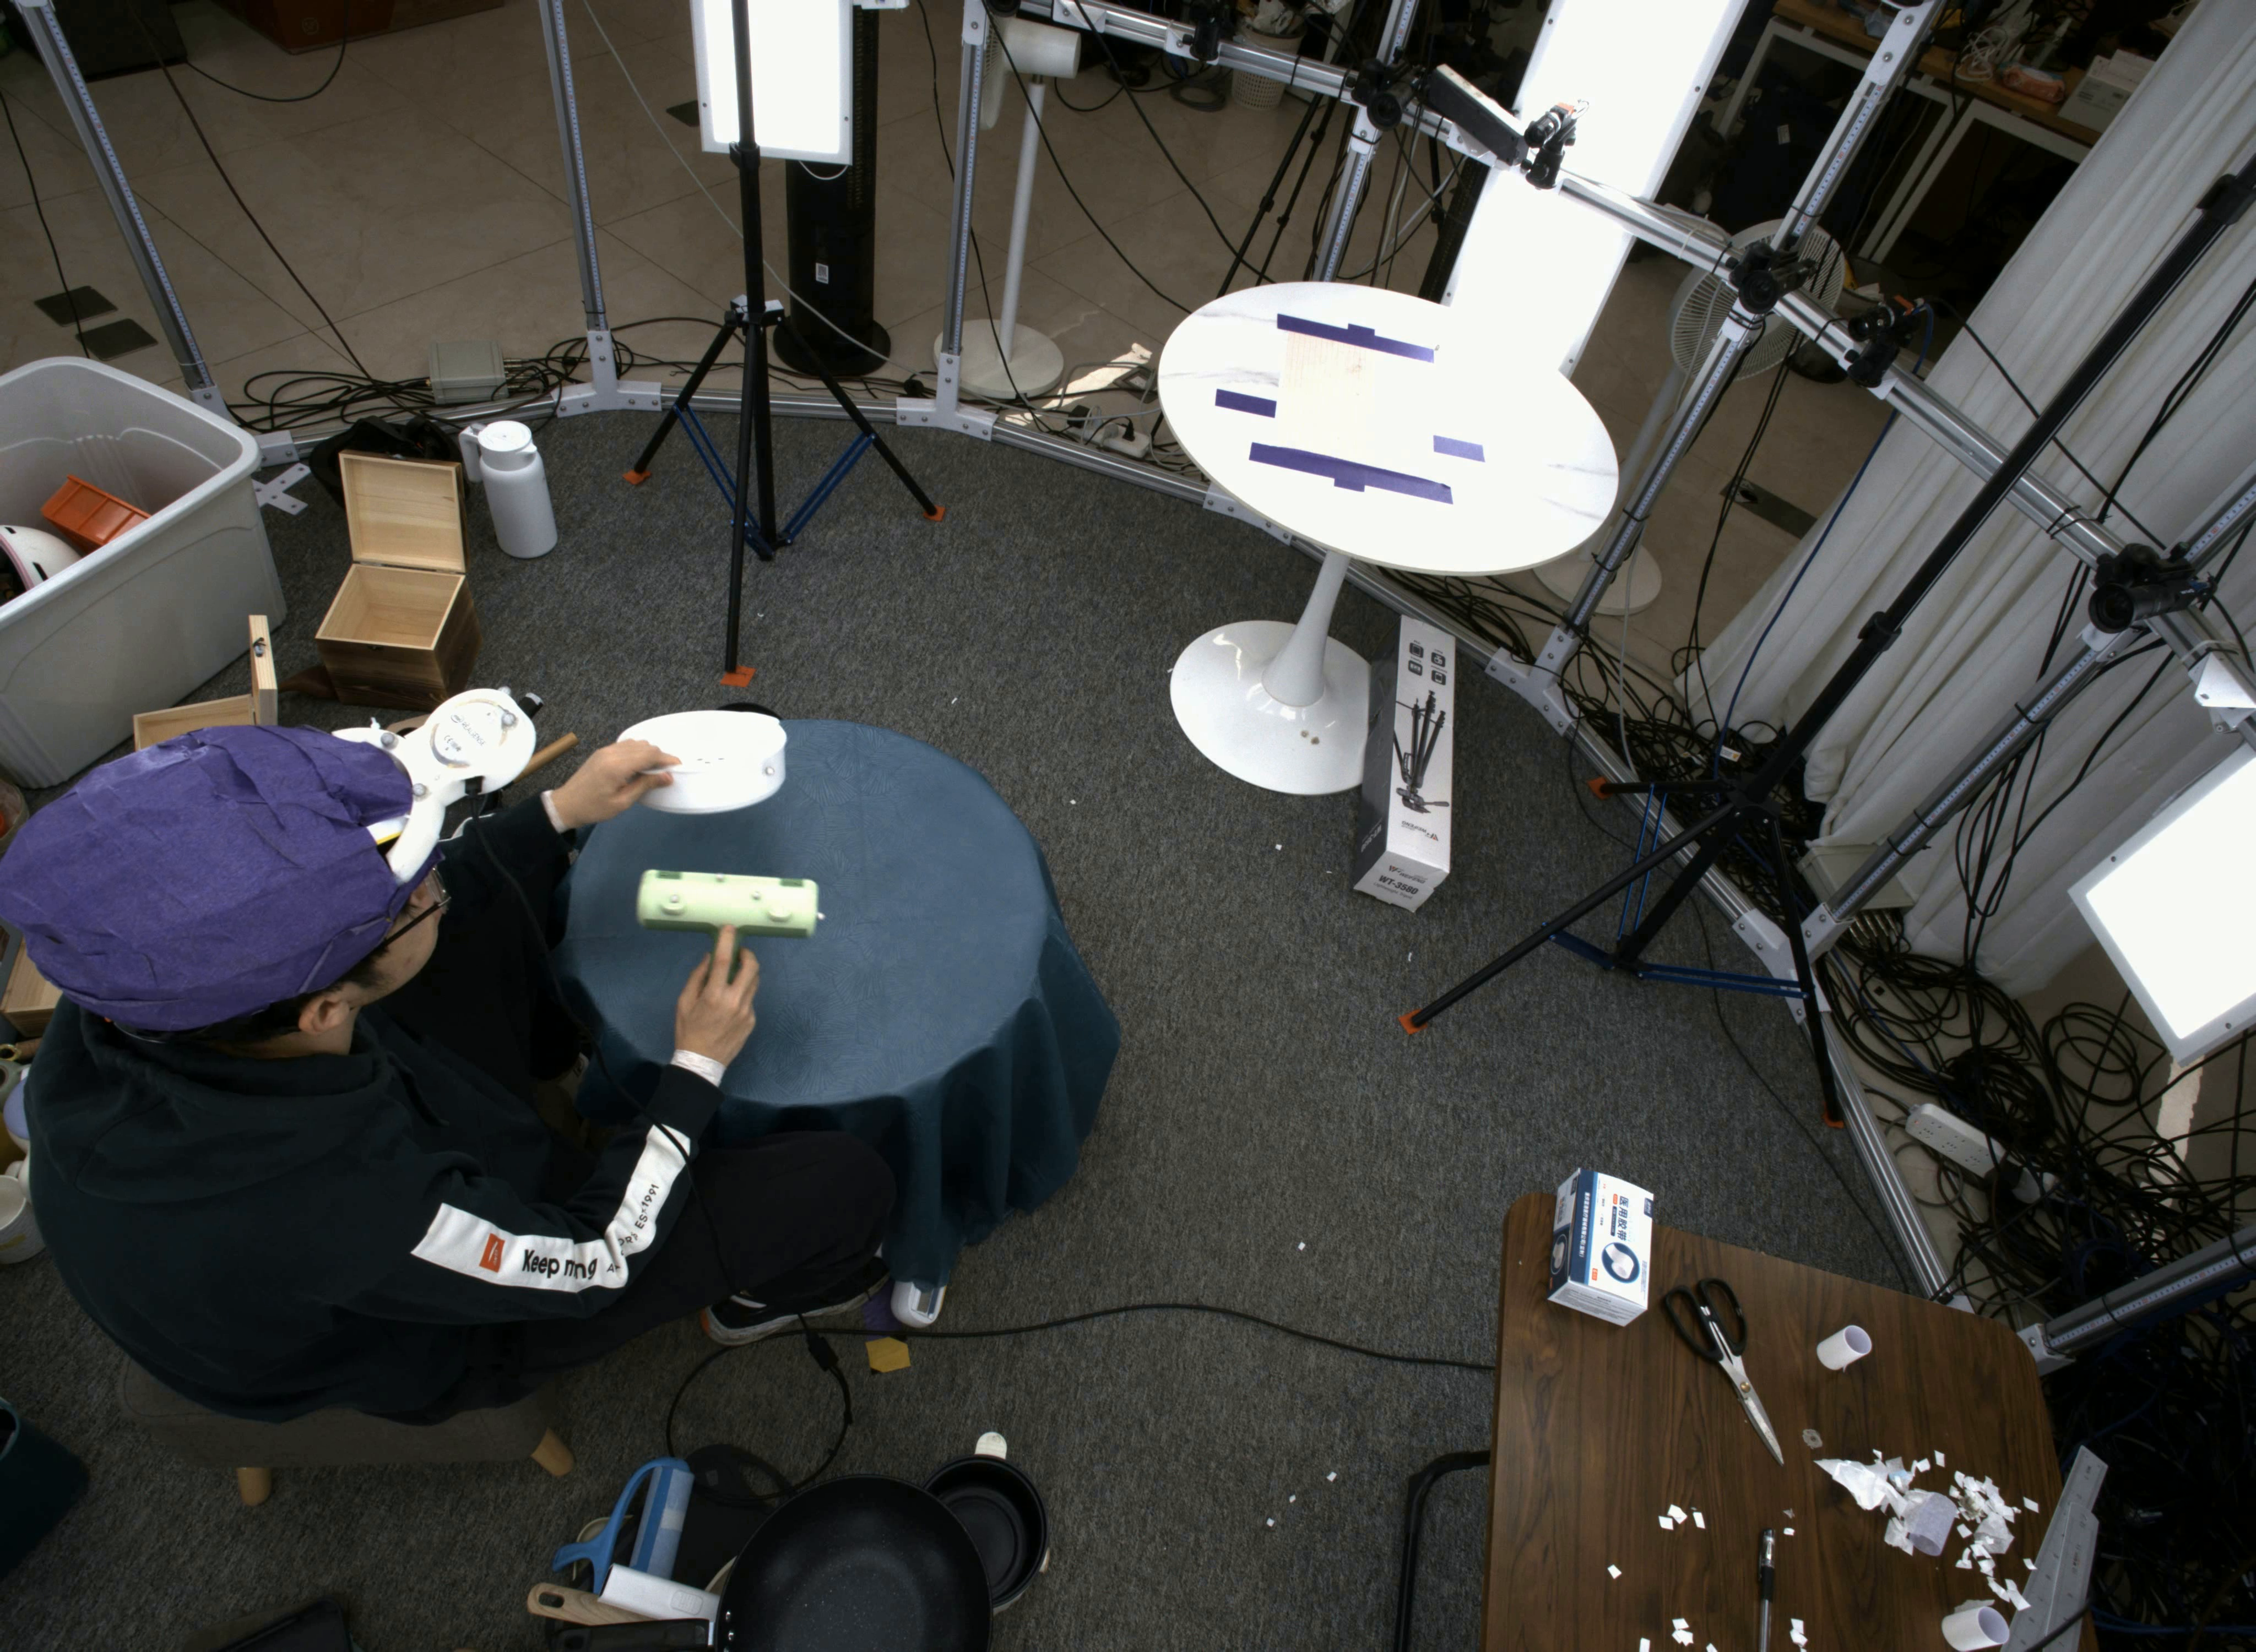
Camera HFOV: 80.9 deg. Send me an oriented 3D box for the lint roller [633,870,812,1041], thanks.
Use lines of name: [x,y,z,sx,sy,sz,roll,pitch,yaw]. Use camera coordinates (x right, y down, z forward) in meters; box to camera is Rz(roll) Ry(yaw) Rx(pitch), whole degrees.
lint roller: [-0.458,0.143,1.448,0.199,0.081,0.184,4,79,-16]

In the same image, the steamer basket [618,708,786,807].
steamer basket: [-0.518,-0.084,1.569,0.196,0.071,0.231,14,23,22]
